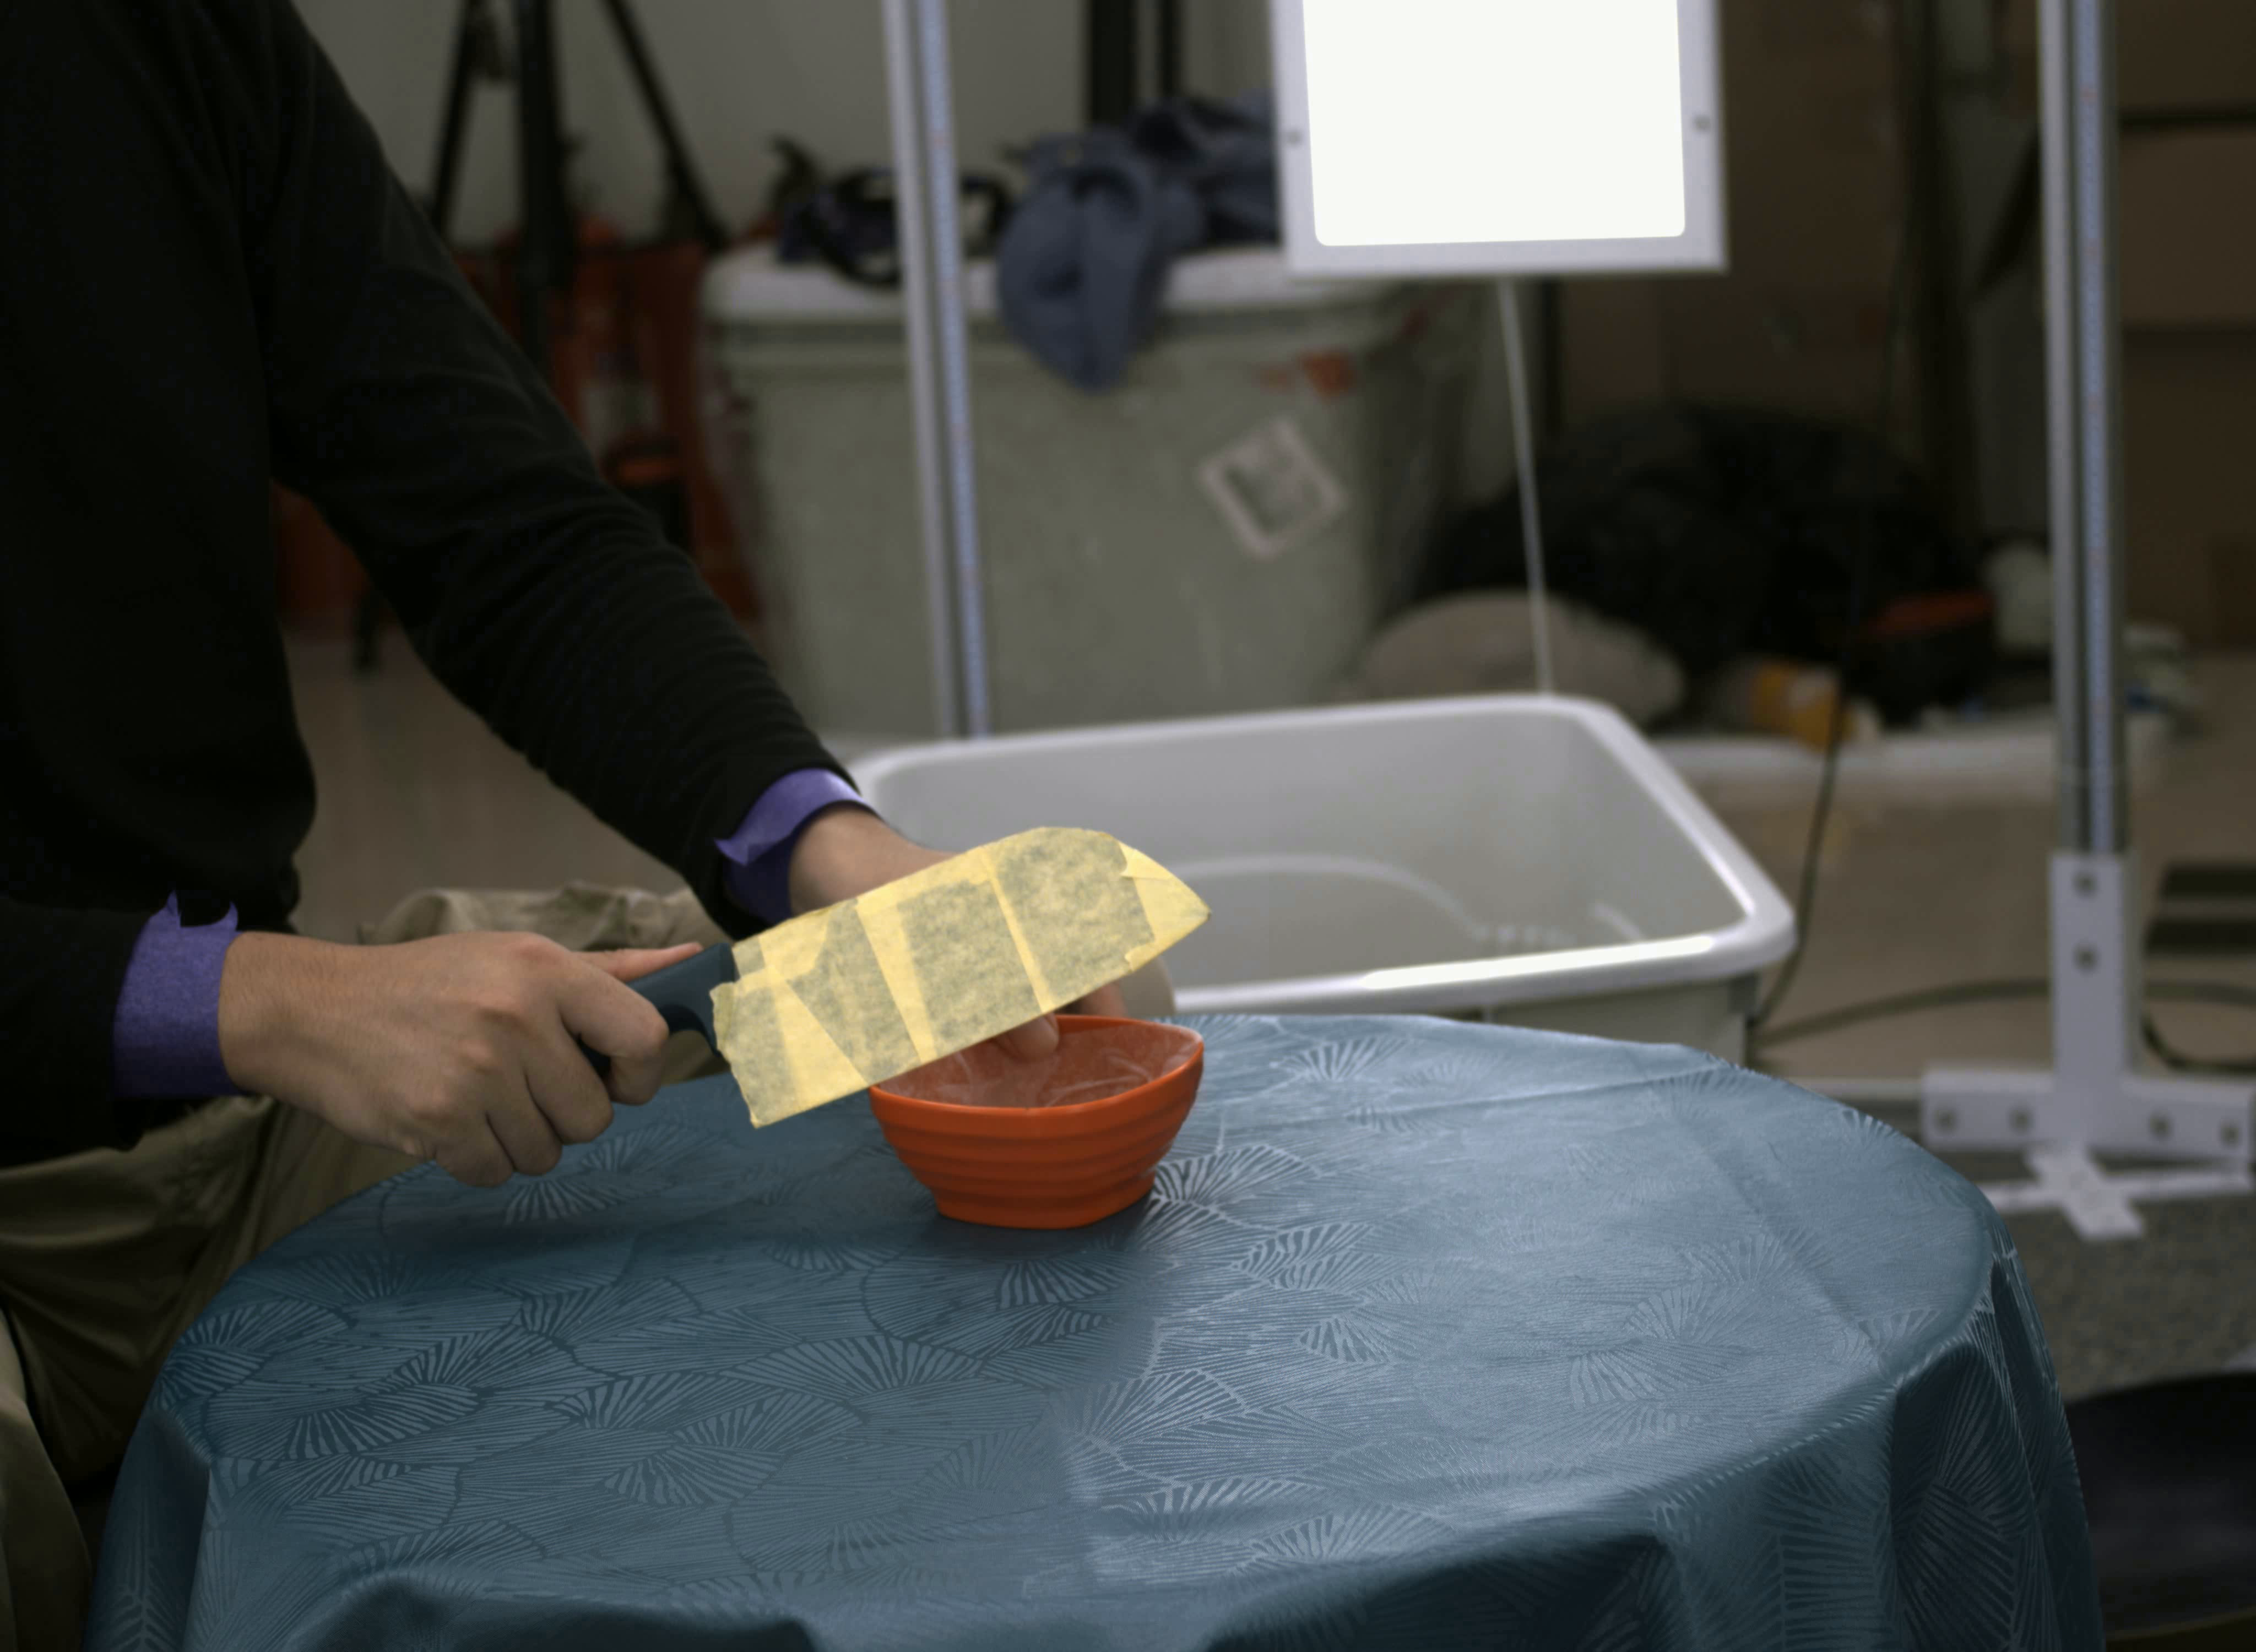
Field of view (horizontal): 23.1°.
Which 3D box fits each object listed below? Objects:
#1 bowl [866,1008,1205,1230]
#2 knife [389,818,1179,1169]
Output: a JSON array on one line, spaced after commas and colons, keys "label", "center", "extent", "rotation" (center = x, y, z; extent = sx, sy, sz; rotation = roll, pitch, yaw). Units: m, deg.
[{"label": "bowl", "center": [-0.030, 0.103, 1.895], "extent": [0.118, 0.051, 0.119], "rotation": [-5, 16, 0]}, {"label": "knife", "center": [-0.117, 0.066, 1.902], "extent": [0.290, 0.027, 0.081], "rotation": [-21, 55, 4]}]
